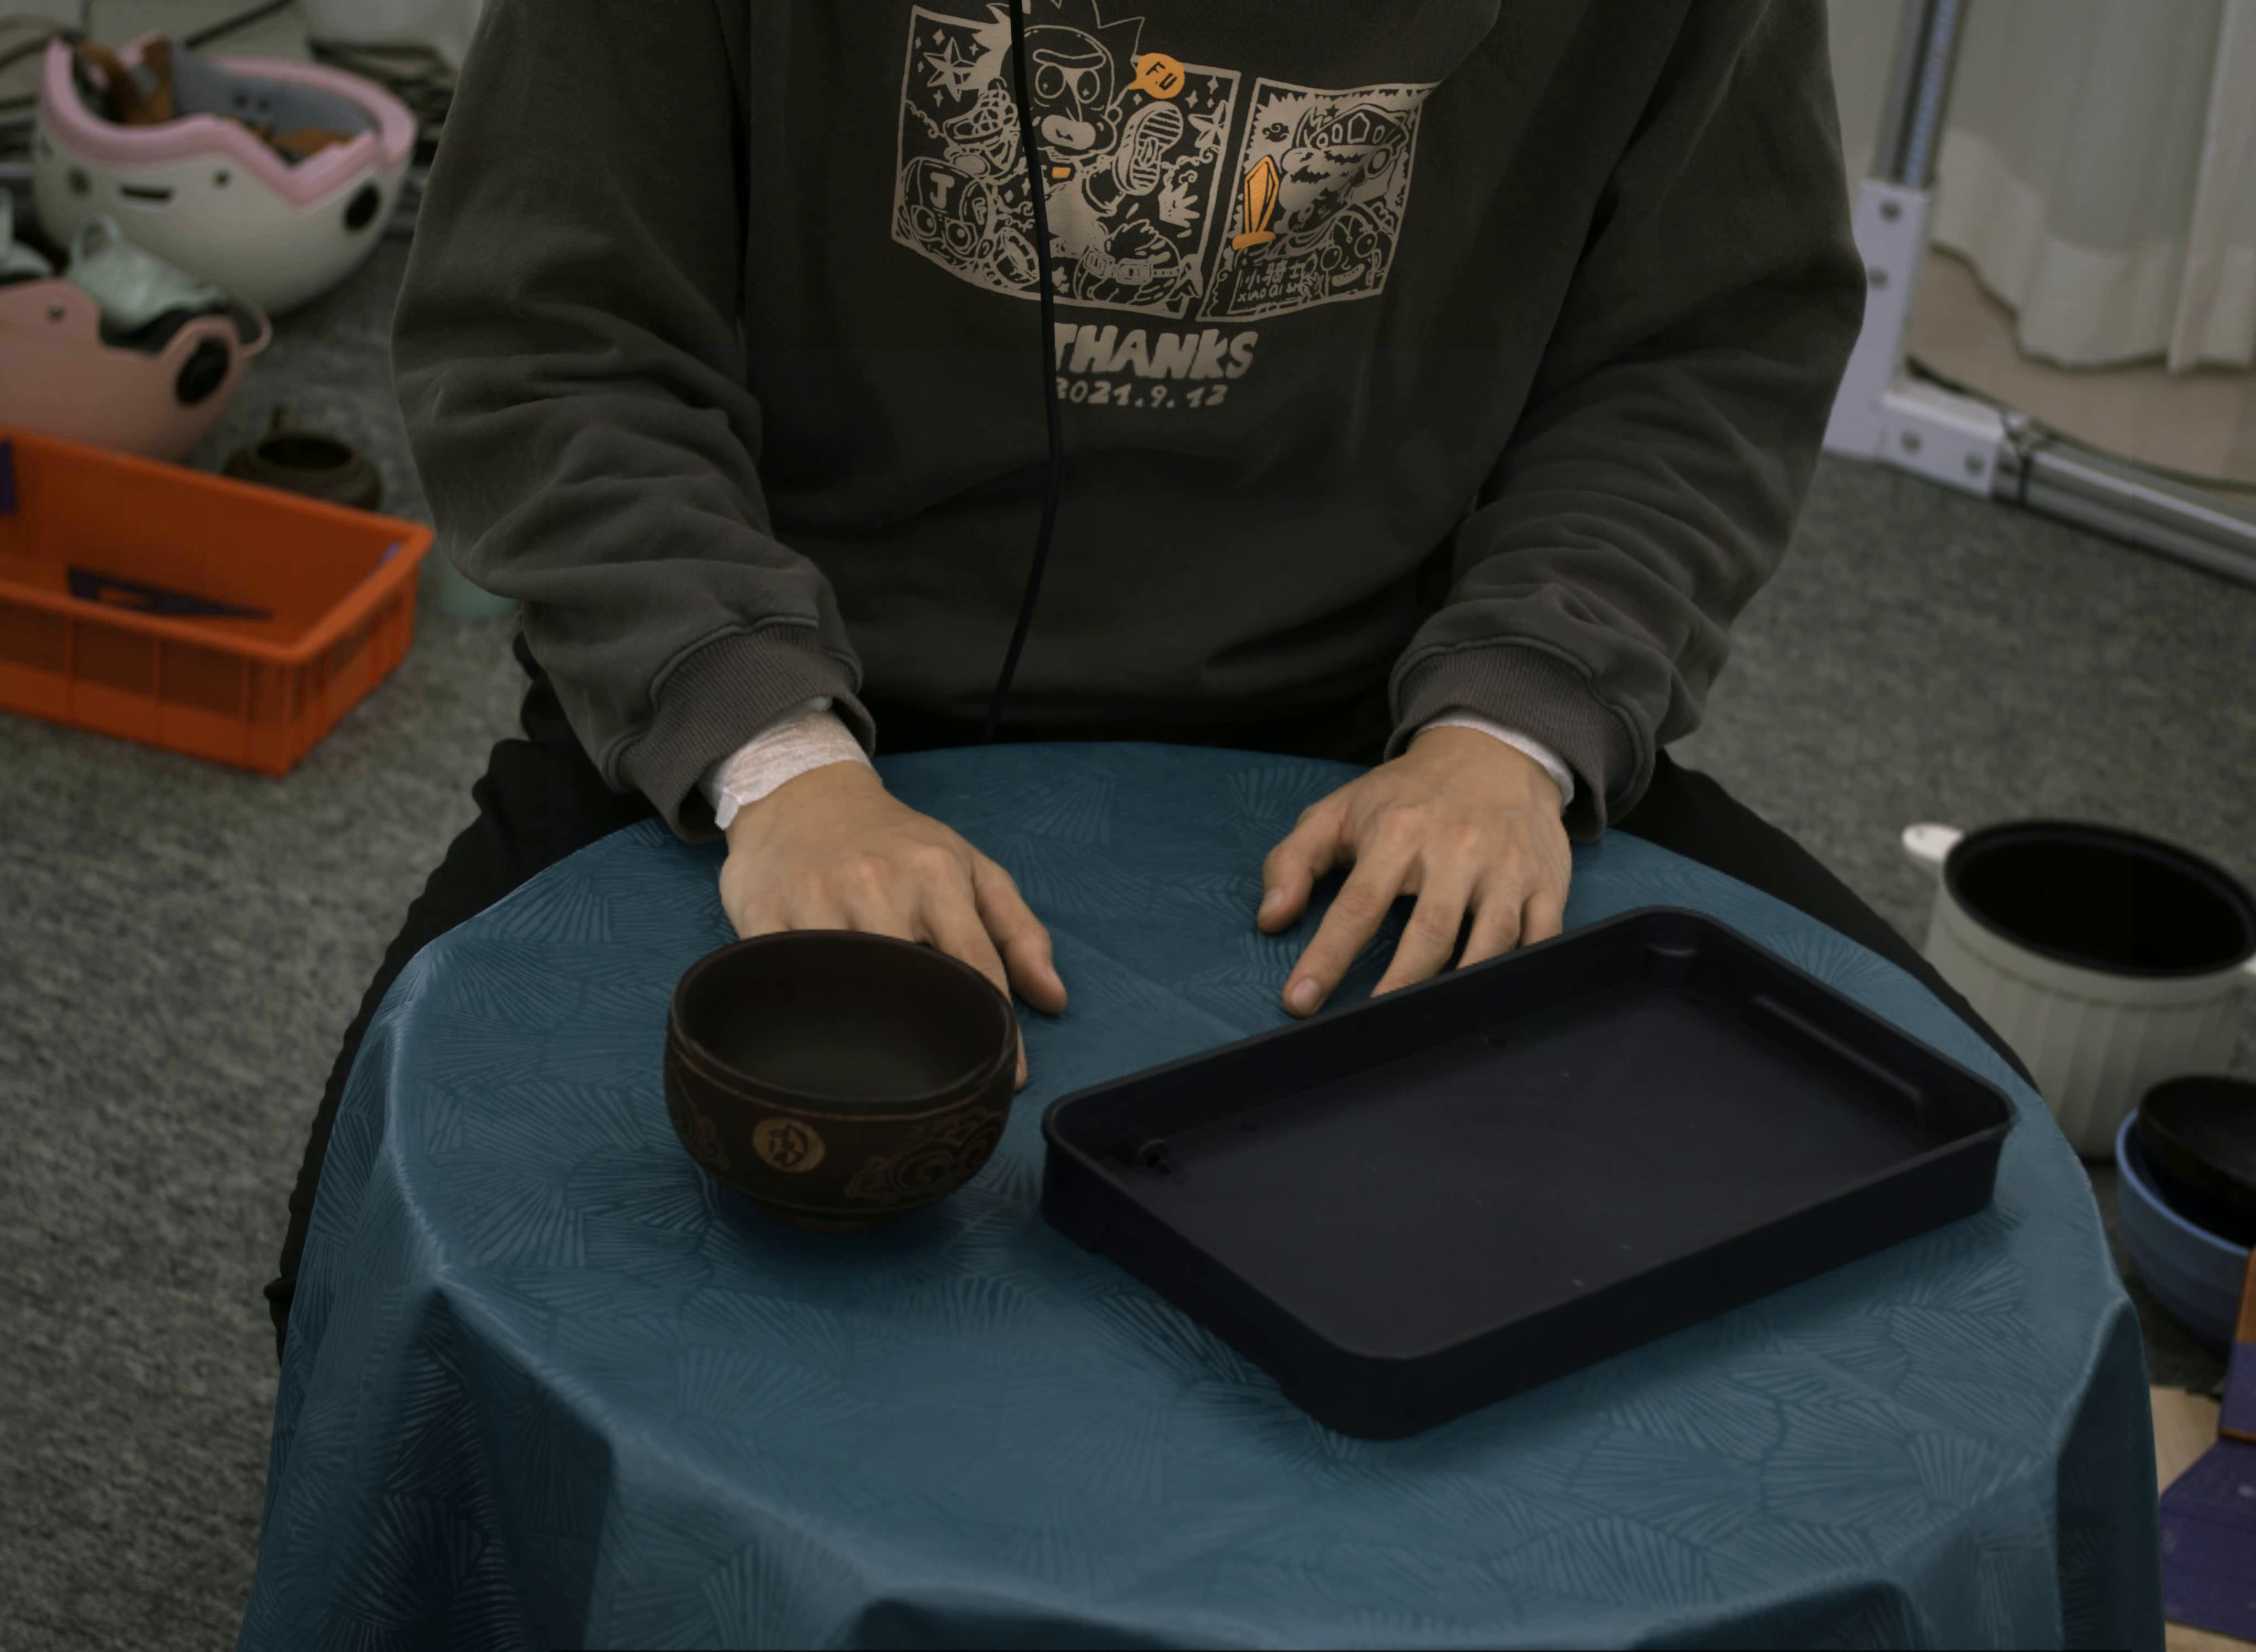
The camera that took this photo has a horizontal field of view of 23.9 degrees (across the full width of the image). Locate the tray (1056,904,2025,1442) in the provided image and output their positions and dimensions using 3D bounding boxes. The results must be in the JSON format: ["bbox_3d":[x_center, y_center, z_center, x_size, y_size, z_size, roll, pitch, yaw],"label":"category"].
[{"bbox_3d":[0.143,0.112,1.820,0.316,0.037,0.186,-18,34,-38],"label":"tray"}]

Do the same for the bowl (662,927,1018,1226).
[{"bbox_3d":[-0.097,0.090,1.769,0.117,0.069,0.119,5,25,-3],"label":"bowl"}]
